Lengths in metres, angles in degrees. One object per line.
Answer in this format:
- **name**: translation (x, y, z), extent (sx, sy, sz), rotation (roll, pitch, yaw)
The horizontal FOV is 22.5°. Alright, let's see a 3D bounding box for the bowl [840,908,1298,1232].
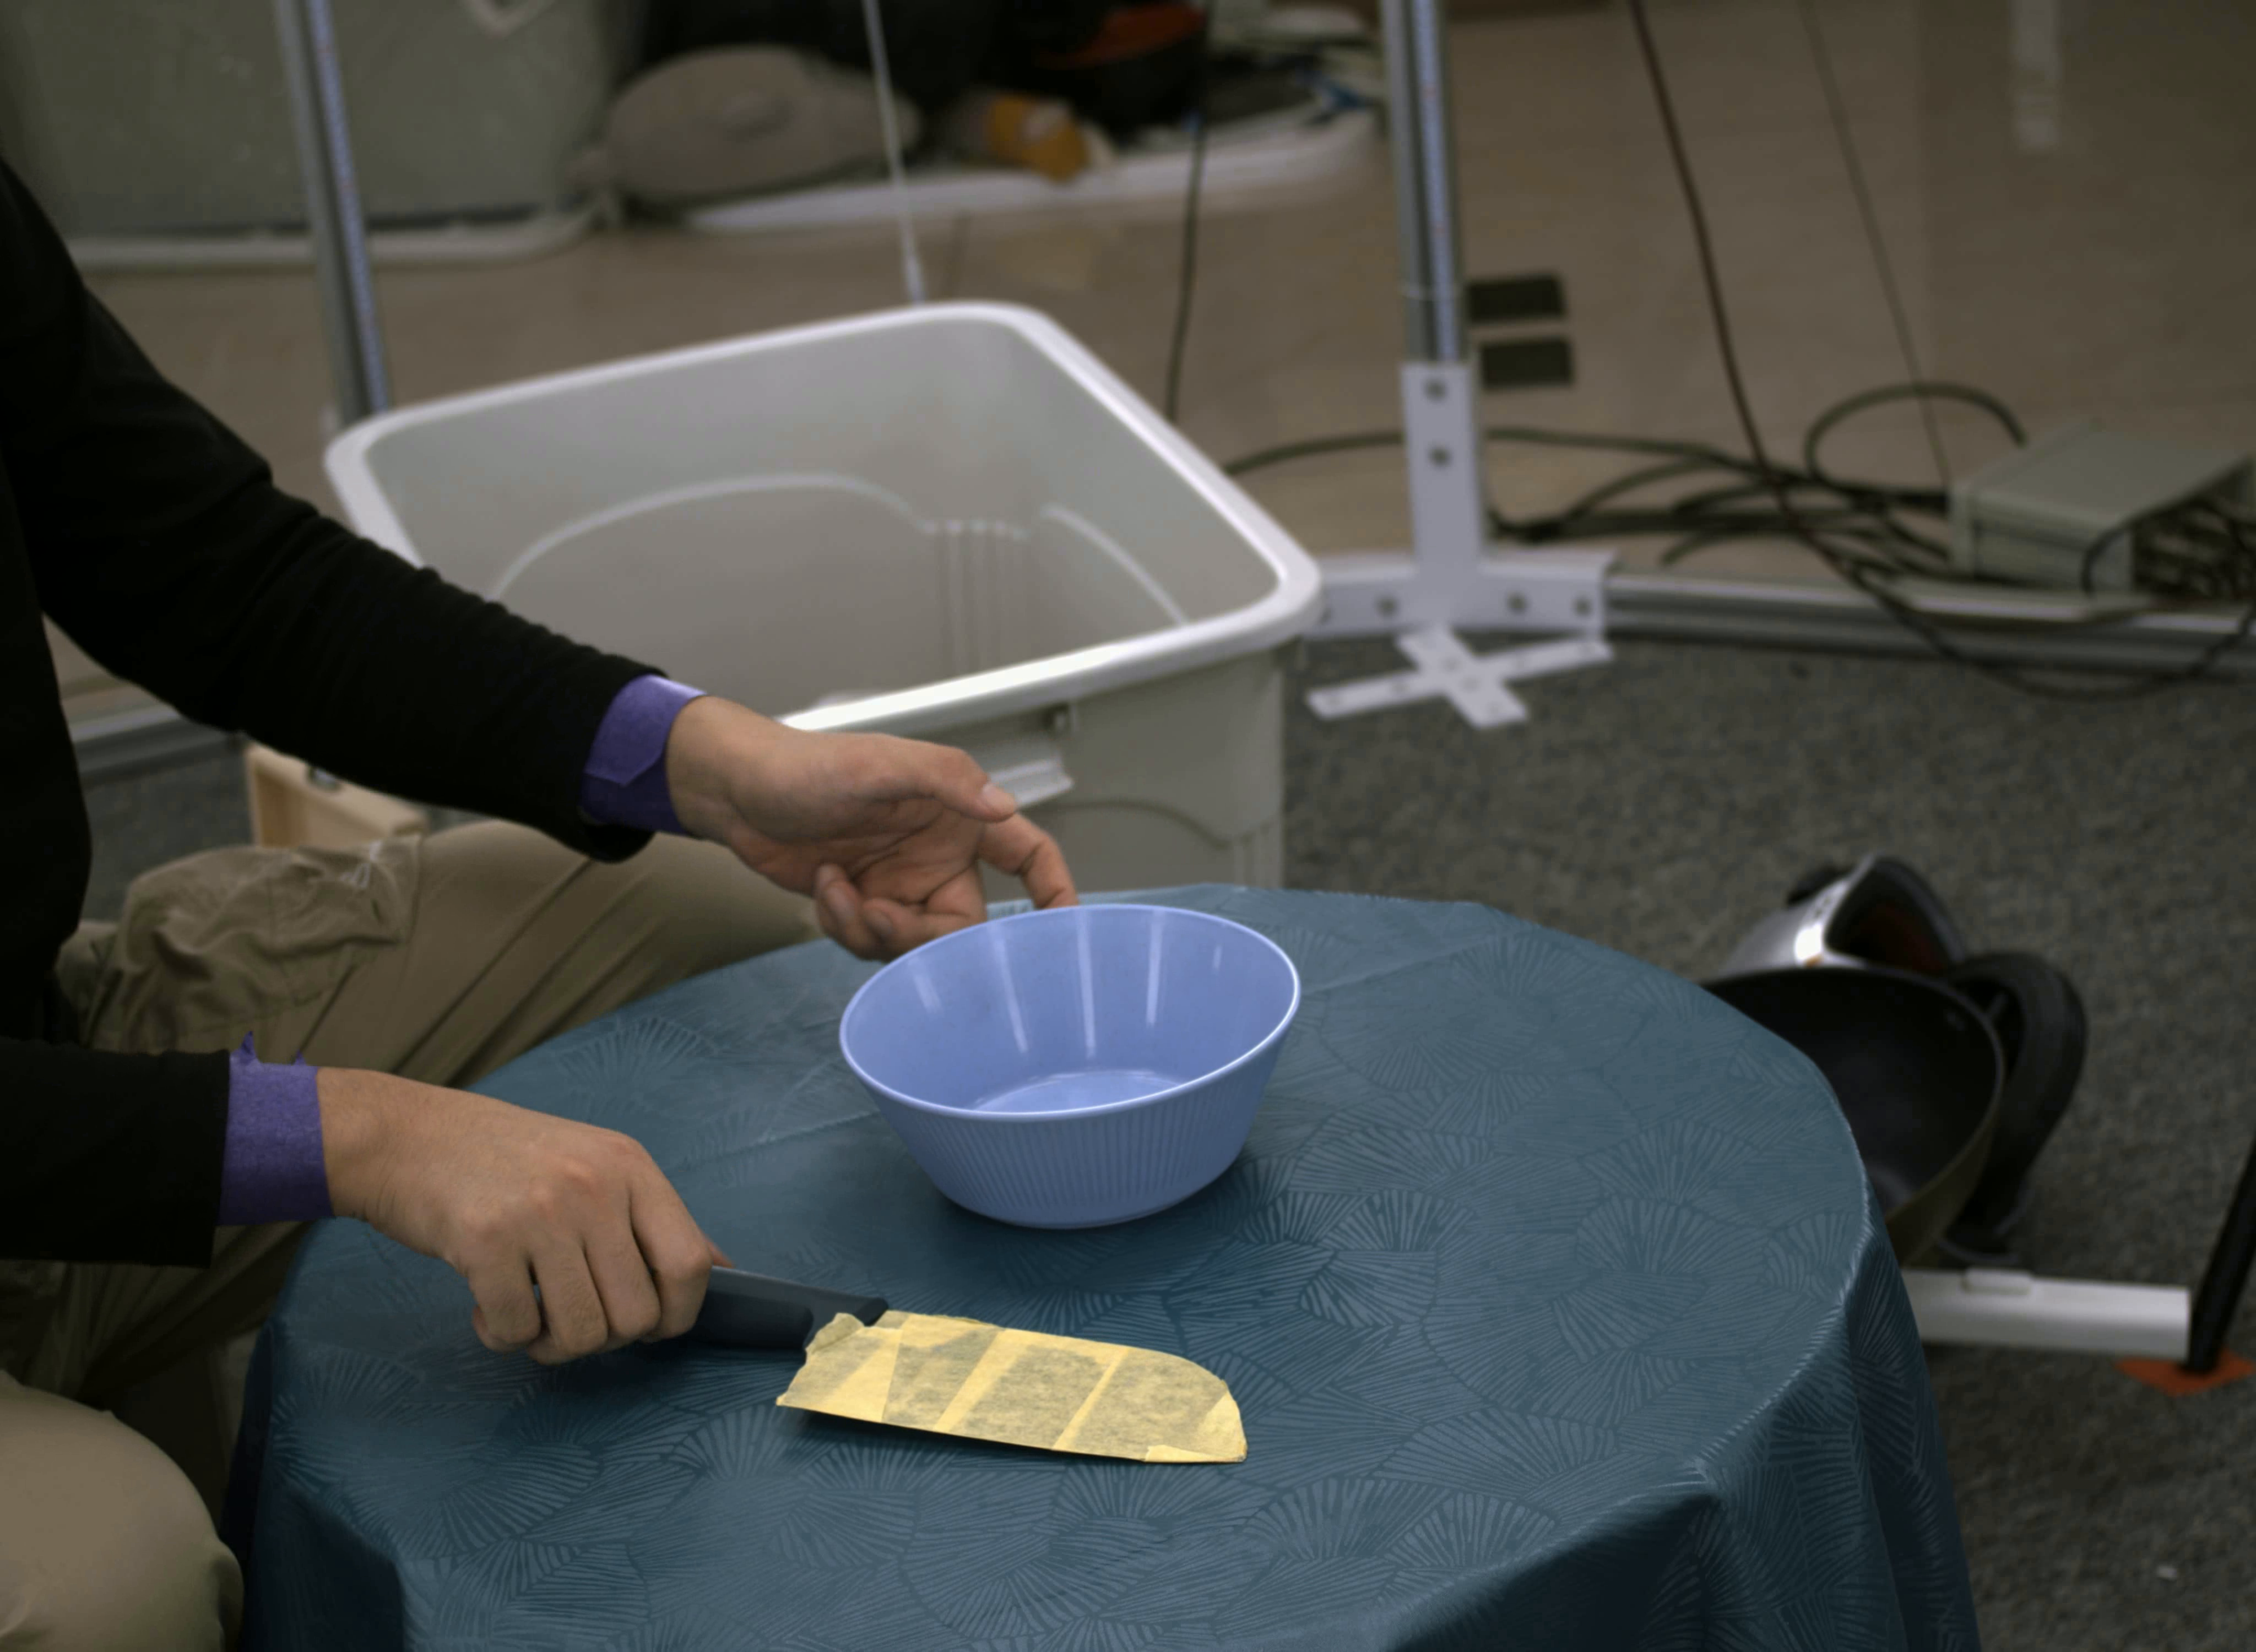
- **bowl**: translation (-0.019, 0.099, 2.160), extent (0.176, 0.071, 0.173), rotation (-5, 26, 3)

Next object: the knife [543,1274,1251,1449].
- **knife**: translation (-0.089, 0.194, 2.038), extent (0.288, 0.027, 0.080), rotation (6, 25, 23)
